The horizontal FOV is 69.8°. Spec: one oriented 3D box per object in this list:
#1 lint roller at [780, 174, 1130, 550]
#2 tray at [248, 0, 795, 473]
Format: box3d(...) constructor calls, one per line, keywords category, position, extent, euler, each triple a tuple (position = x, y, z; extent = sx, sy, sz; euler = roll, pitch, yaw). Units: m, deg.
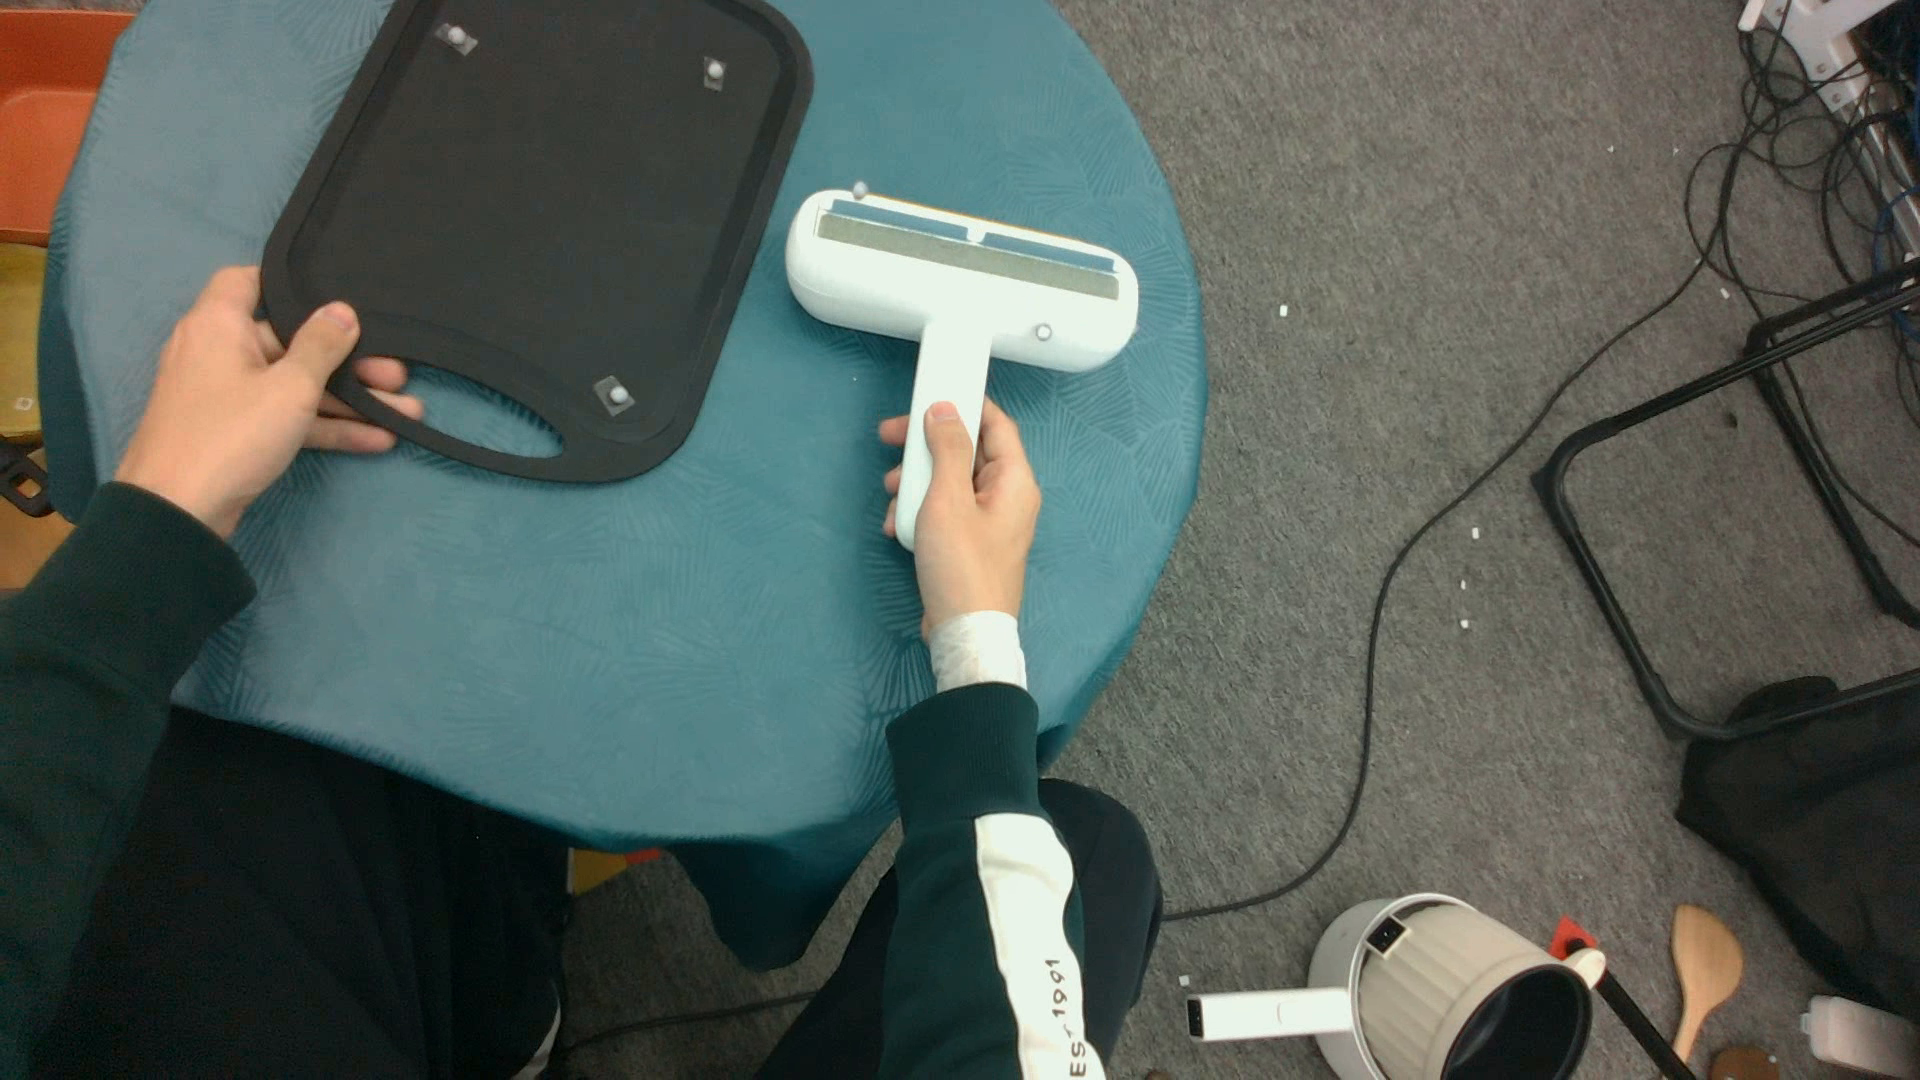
box3d(category="lint roller", position=(-0.016, -0.090, 0.744), extent=(0.193, 0.074, 0.193), euler=(15, 76, -10))
box3d(category="tray", position=(-0.212, -0.191, 0.706), extent=(0.211, 0.010, 0.326), euler=(22, 67, -20))
